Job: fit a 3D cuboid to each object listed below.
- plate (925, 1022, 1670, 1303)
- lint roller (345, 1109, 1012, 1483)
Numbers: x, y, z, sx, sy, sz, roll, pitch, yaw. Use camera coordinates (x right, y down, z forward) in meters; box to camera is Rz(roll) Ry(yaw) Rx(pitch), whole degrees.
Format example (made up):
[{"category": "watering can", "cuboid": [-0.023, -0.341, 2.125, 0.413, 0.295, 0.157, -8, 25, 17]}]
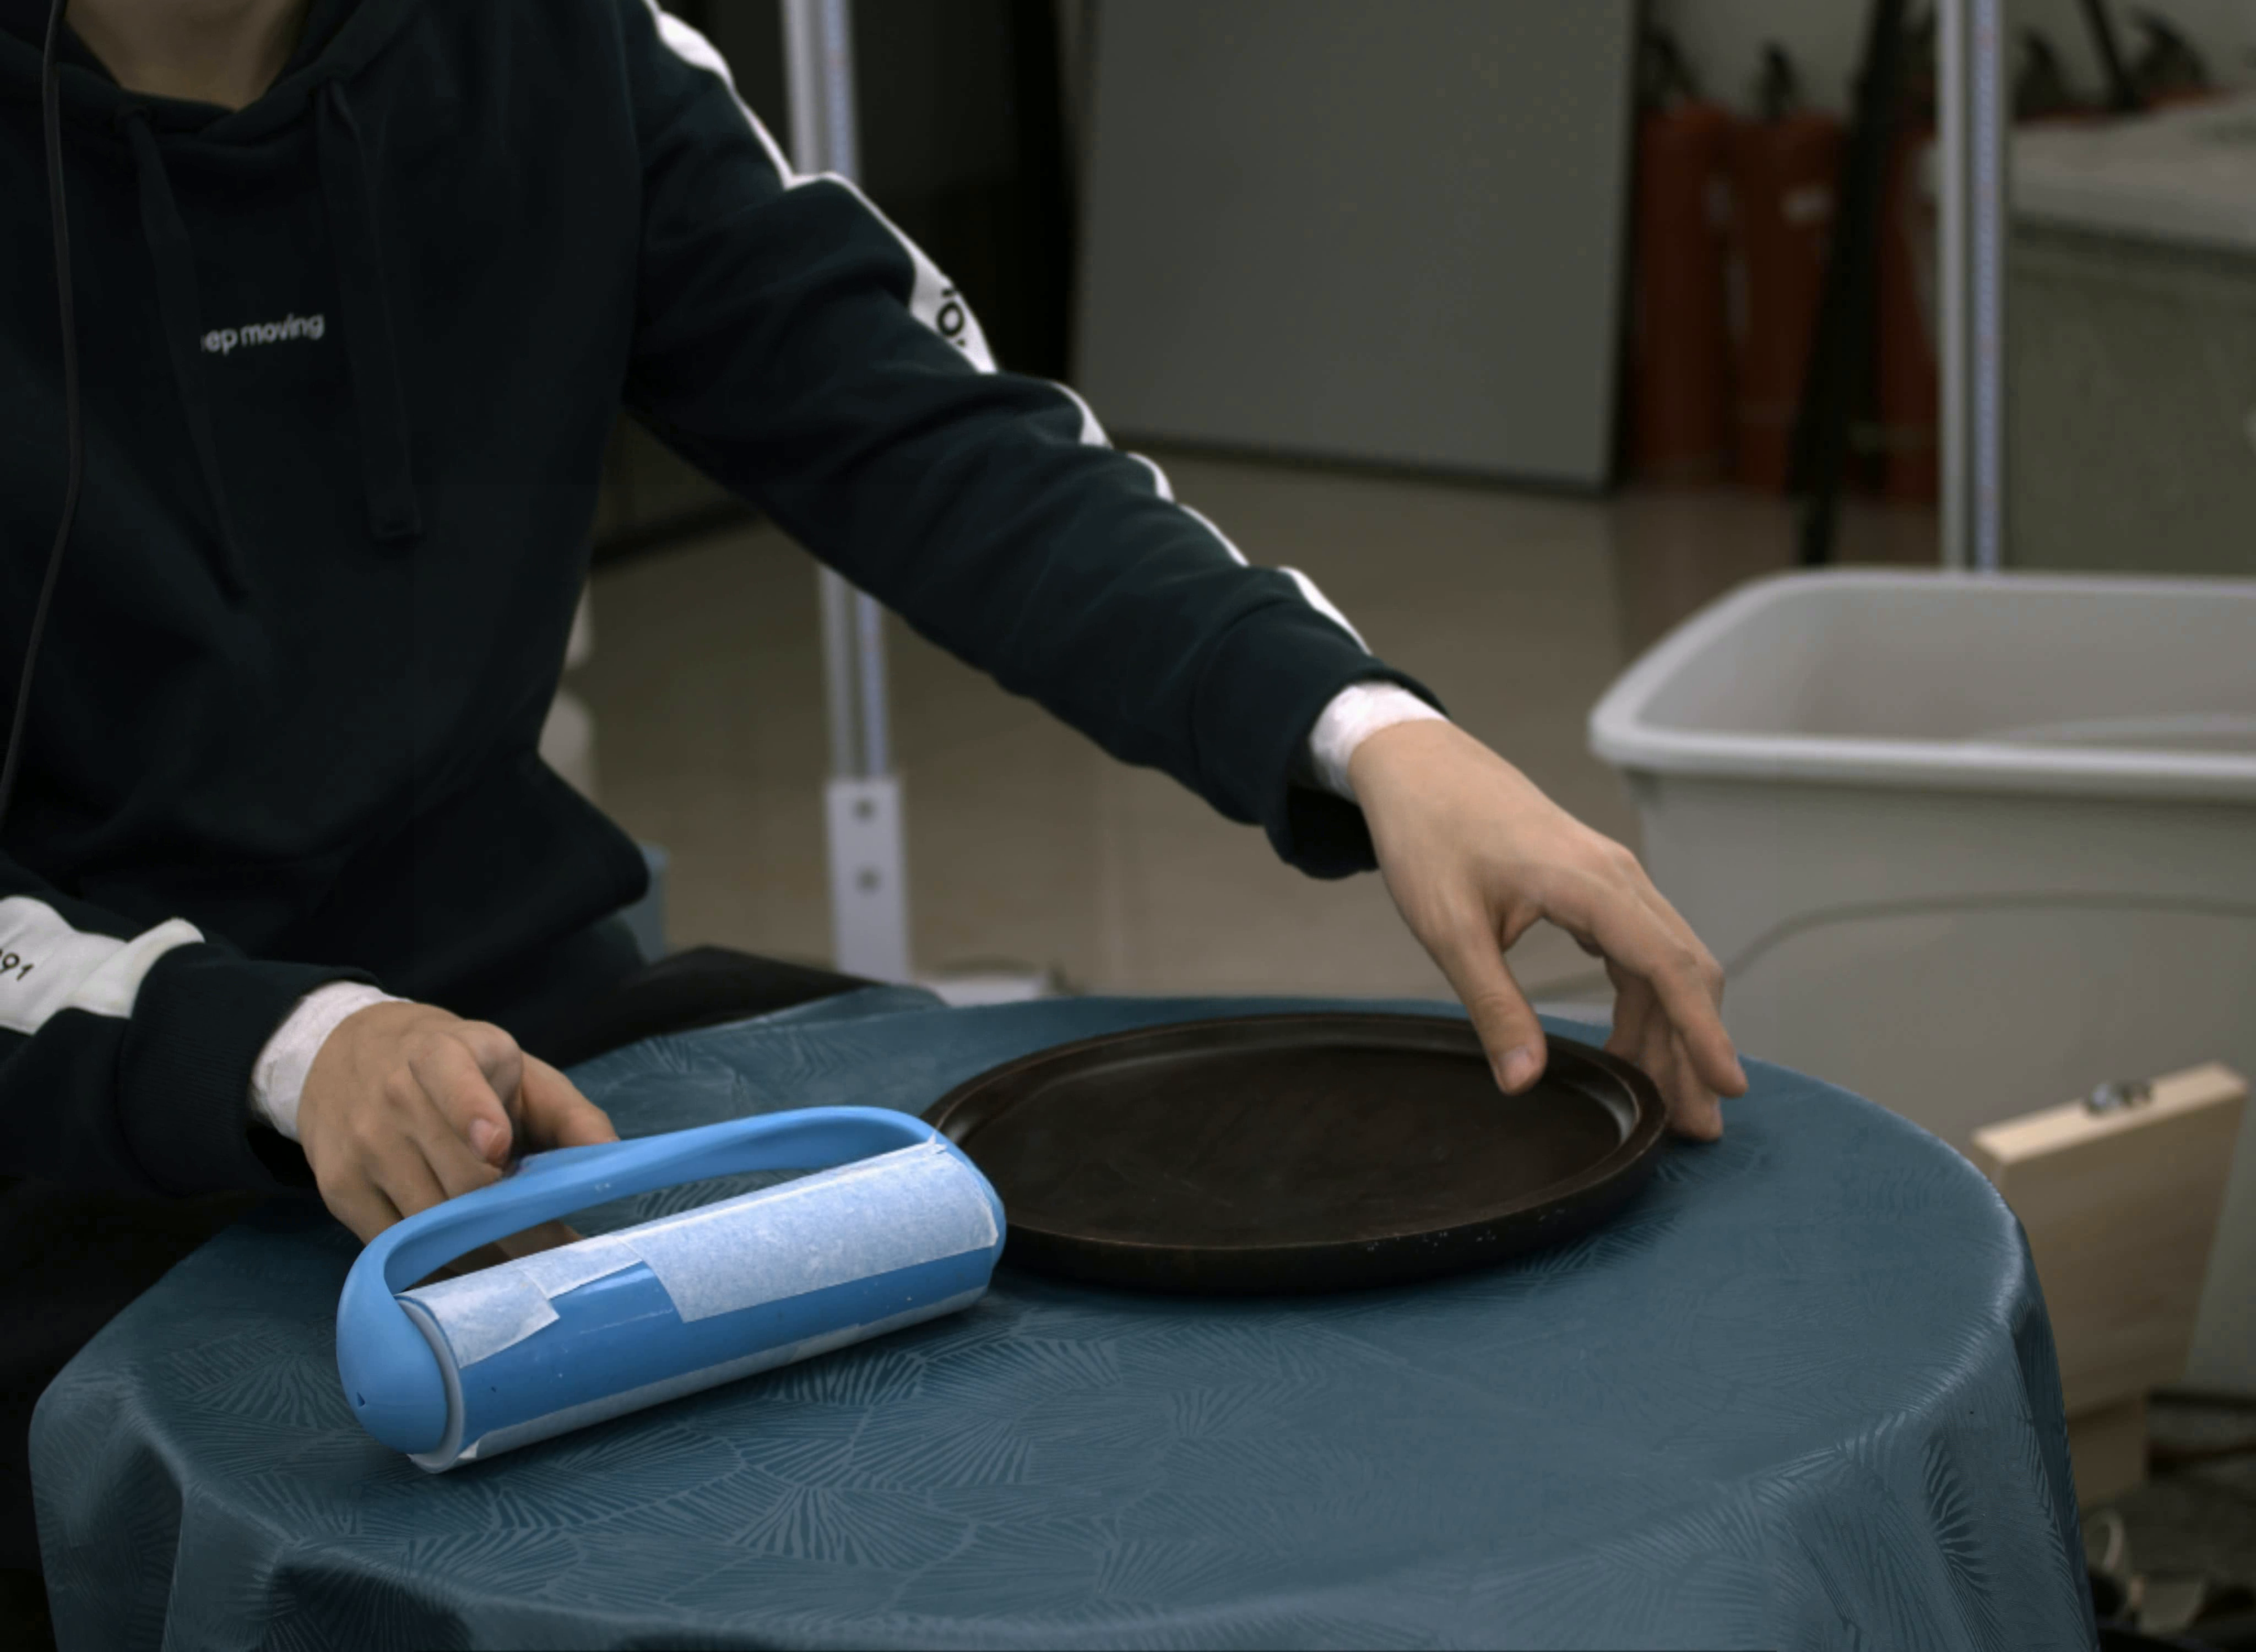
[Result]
[{"category": "plate", "cuboid": [0.052, 0.107, 1.763, 0.251, 0.029, 0.255, -4, 15, 0]}, {"category": "lint roller", "cuboid": [-0.167, 0.132, 1.655, 0.224, 0.068, 0.182, -17, 20, -37]}]
